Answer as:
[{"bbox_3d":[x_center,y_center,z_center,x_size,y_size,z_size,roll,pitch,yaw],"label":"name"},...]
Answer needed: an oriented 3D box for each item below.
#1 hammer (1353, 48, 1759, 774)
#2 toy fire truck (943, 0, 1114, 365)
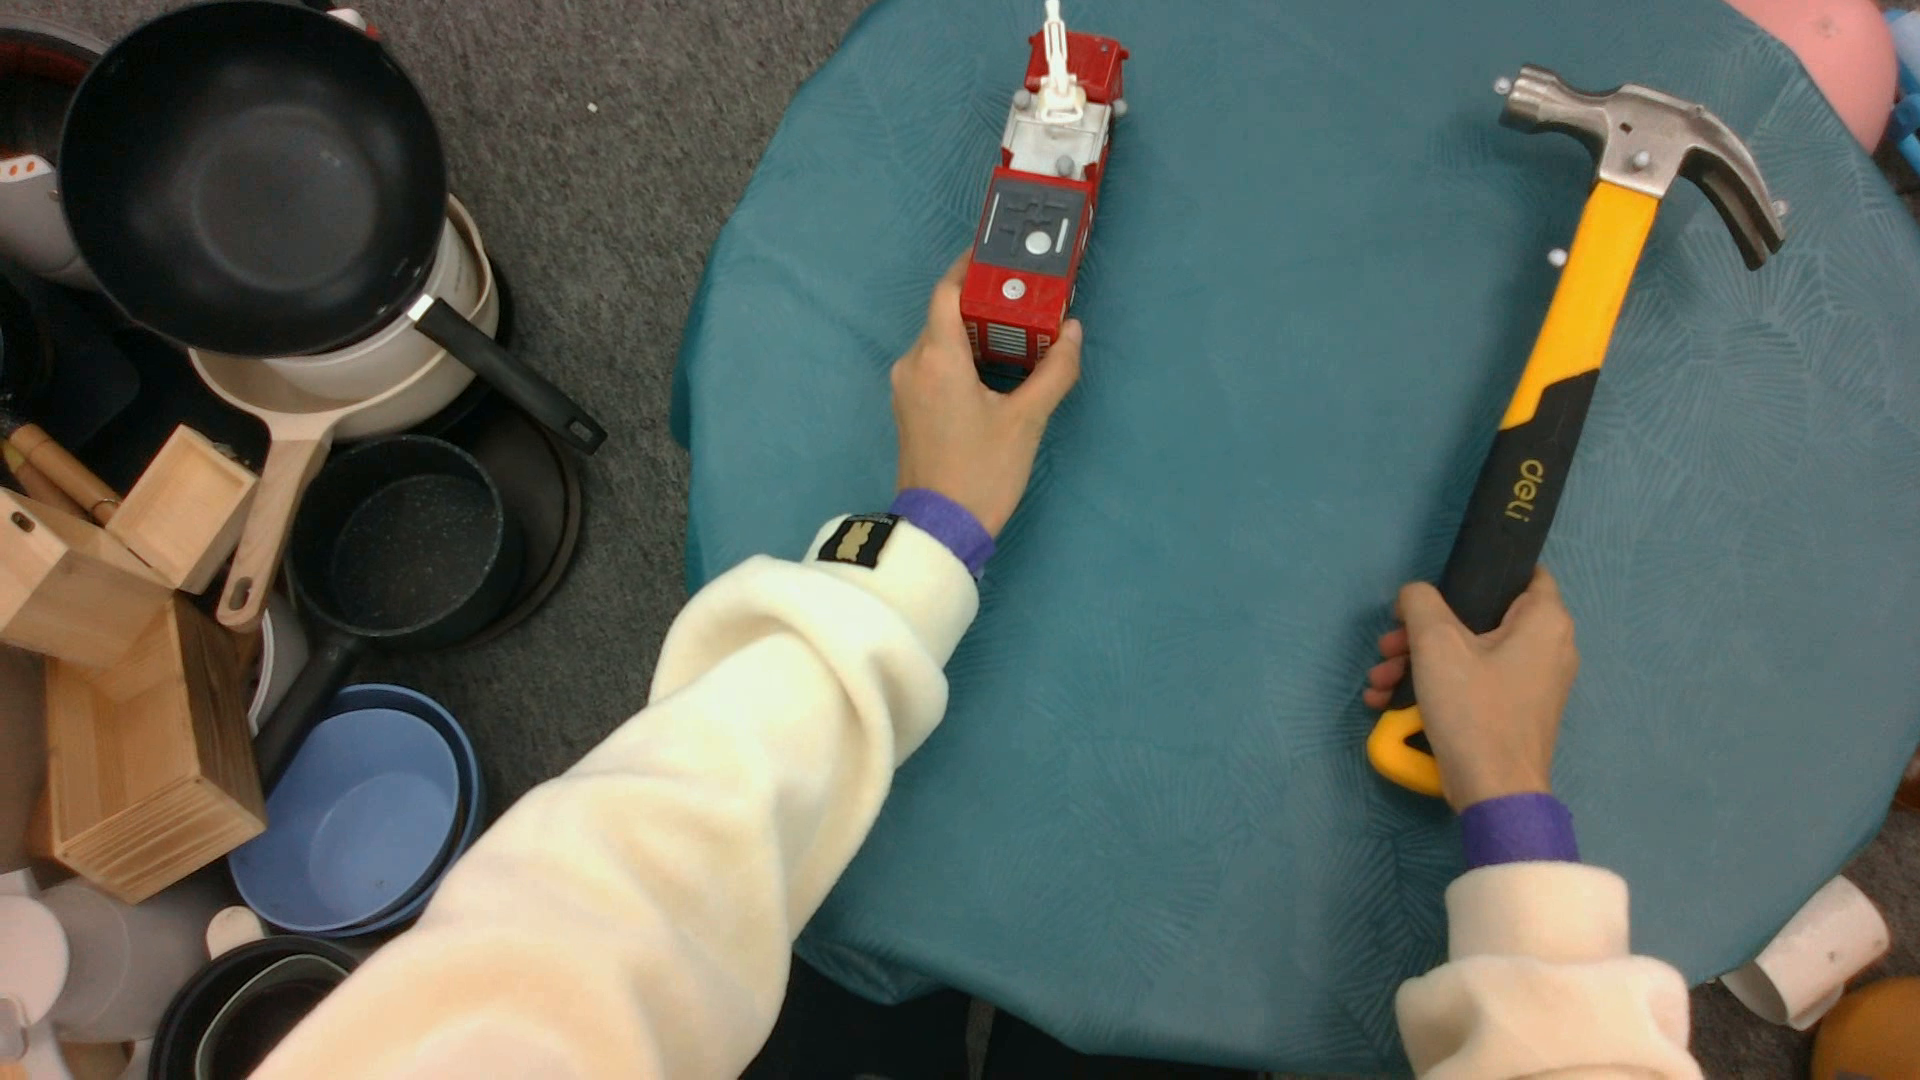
[{"bbox_3d":[0.248,-0.058,0.609,0.131,0.032,0.339,22,78,10],"label":"hammer"},{"bbox_3d":[0.032,-0.165,0.635,0.054,0.070,0.168,11,73,6],"label":"toy fire truck"}]
